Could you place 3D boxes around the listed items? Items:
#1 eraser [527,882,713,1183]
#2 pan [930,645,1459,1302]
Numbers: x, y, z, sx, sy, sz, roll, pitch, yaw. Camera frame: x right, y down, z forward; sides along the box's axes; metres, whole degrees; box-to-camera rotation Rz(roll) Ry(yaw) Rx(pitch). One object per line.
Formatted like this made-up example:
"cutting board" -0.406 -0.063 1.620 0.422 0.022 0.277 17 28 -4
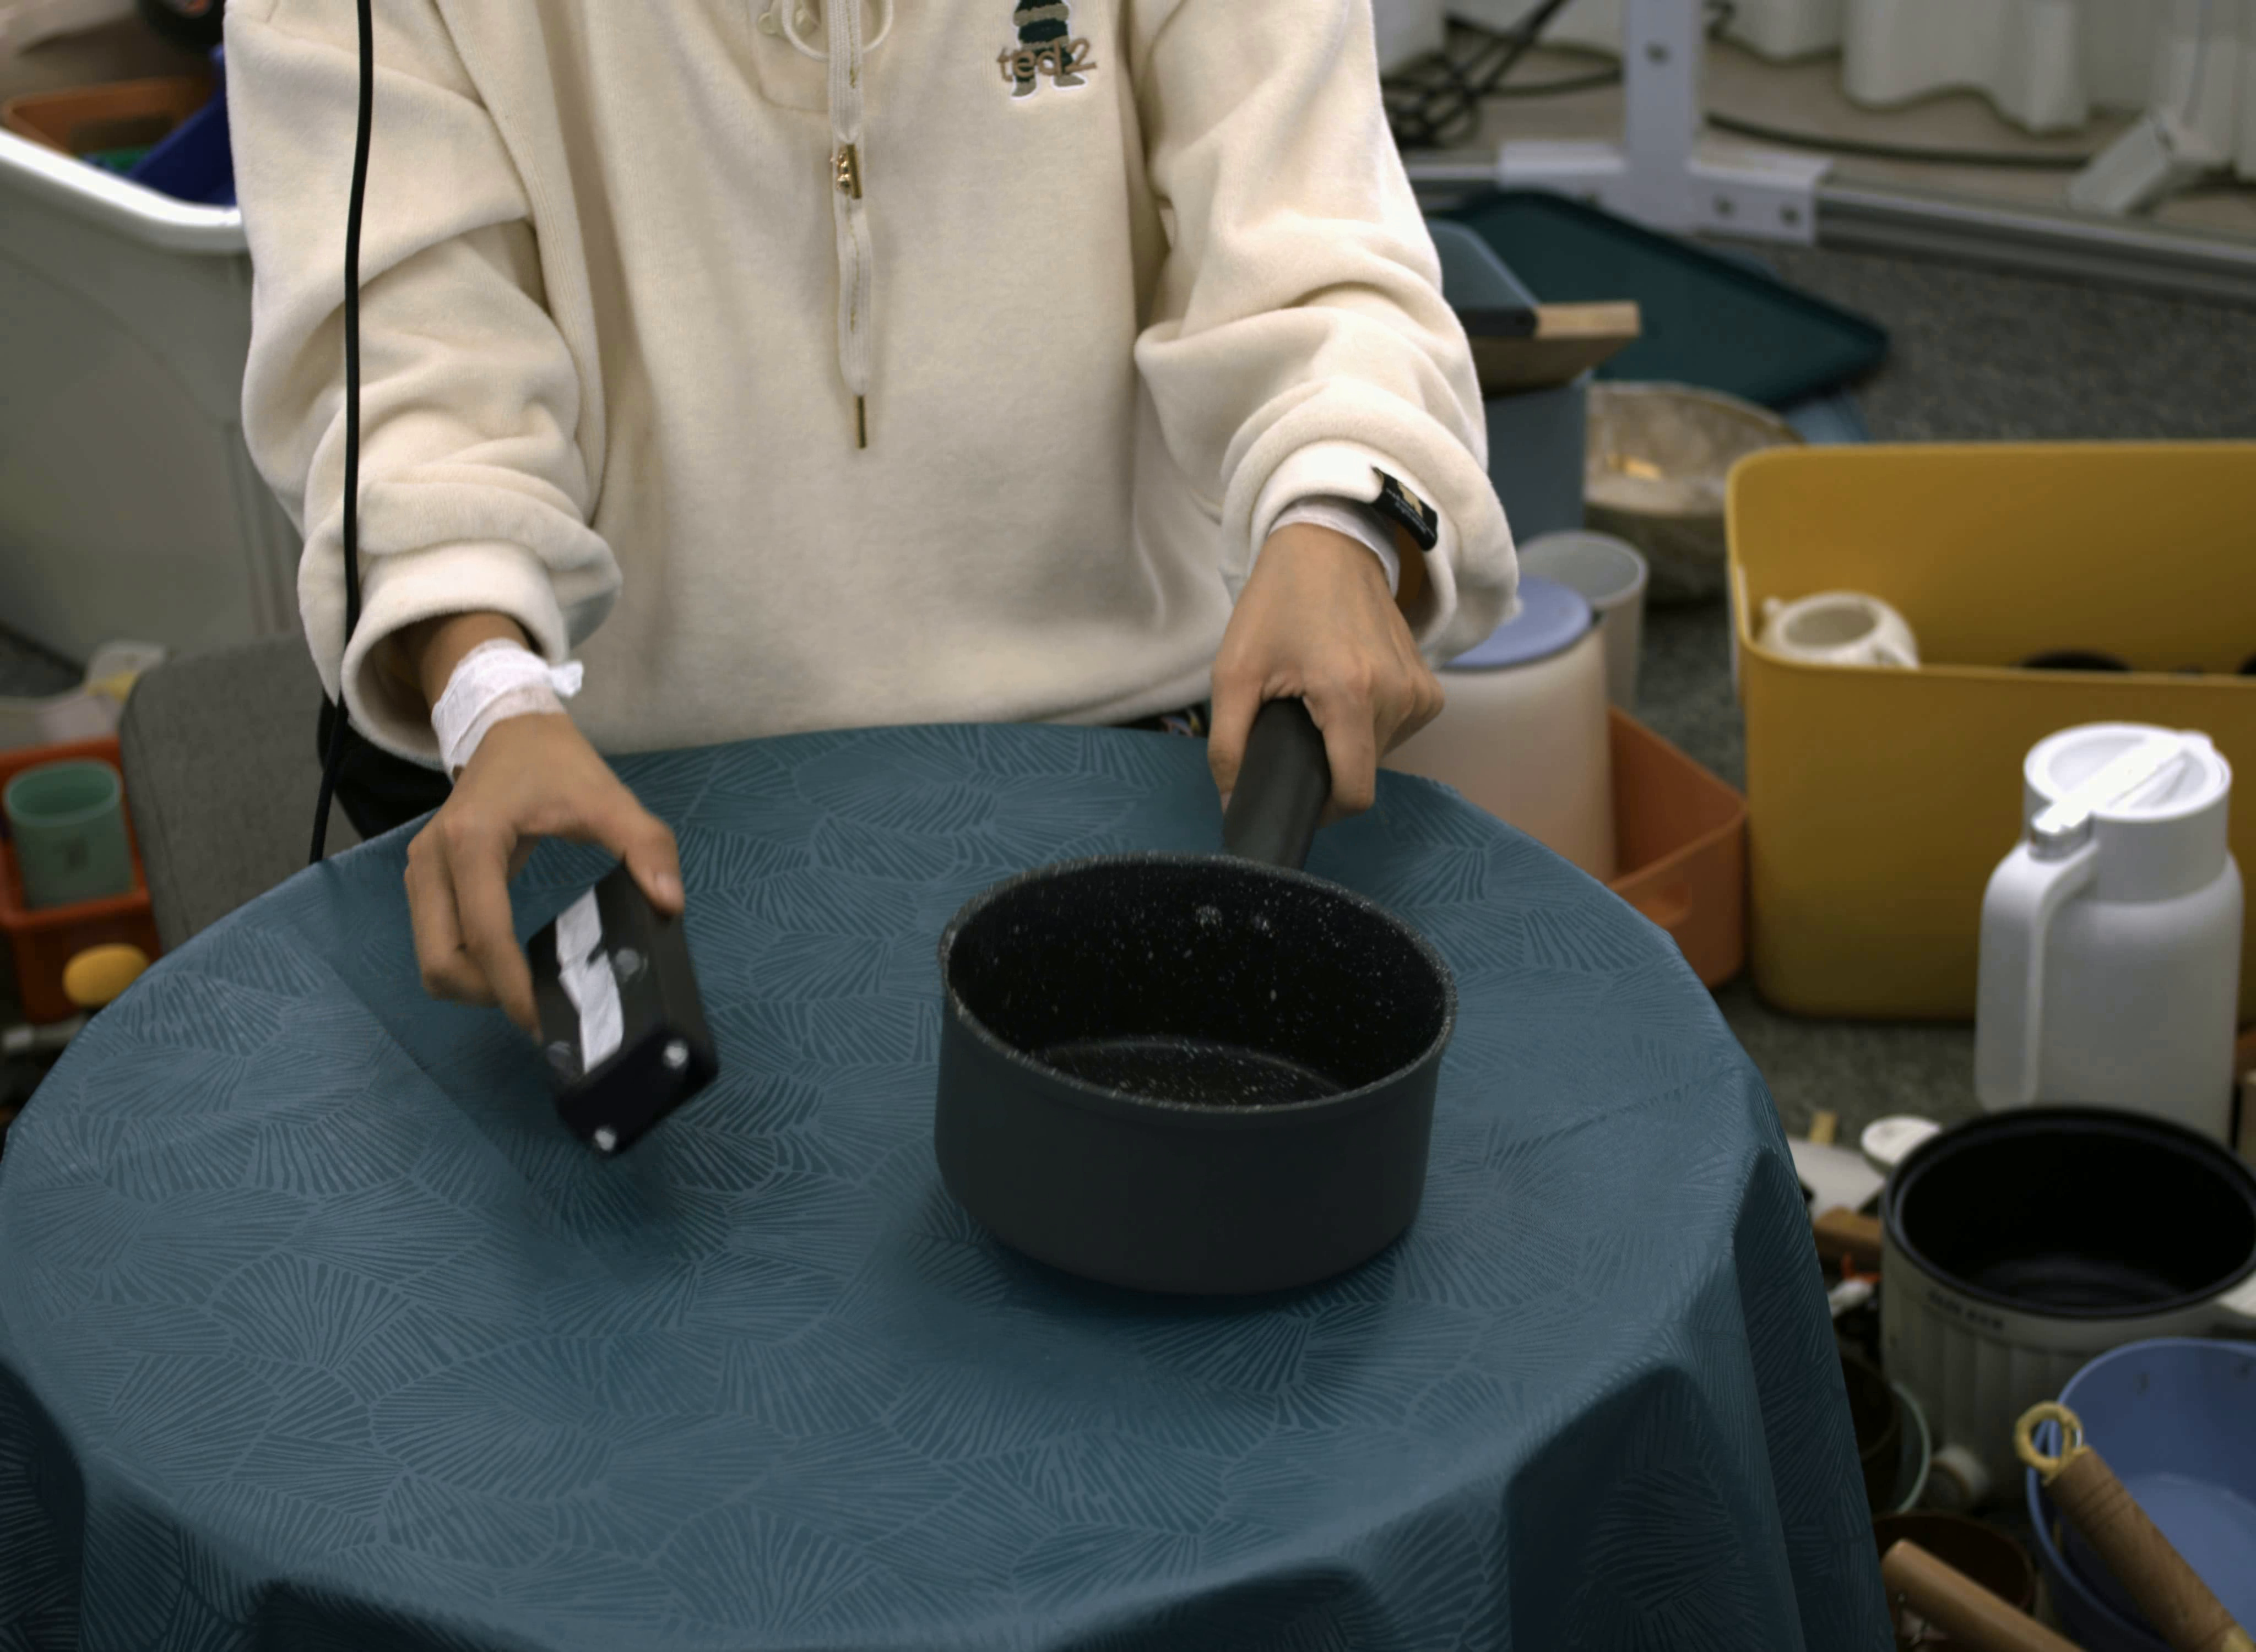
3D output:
"eraser" -0.171 0.068 1.883 0.053 0.030 0.127 -35 27 8
"pan" 0.039 0.045 1.906 0.171 0.085 0.334 10 29 11
